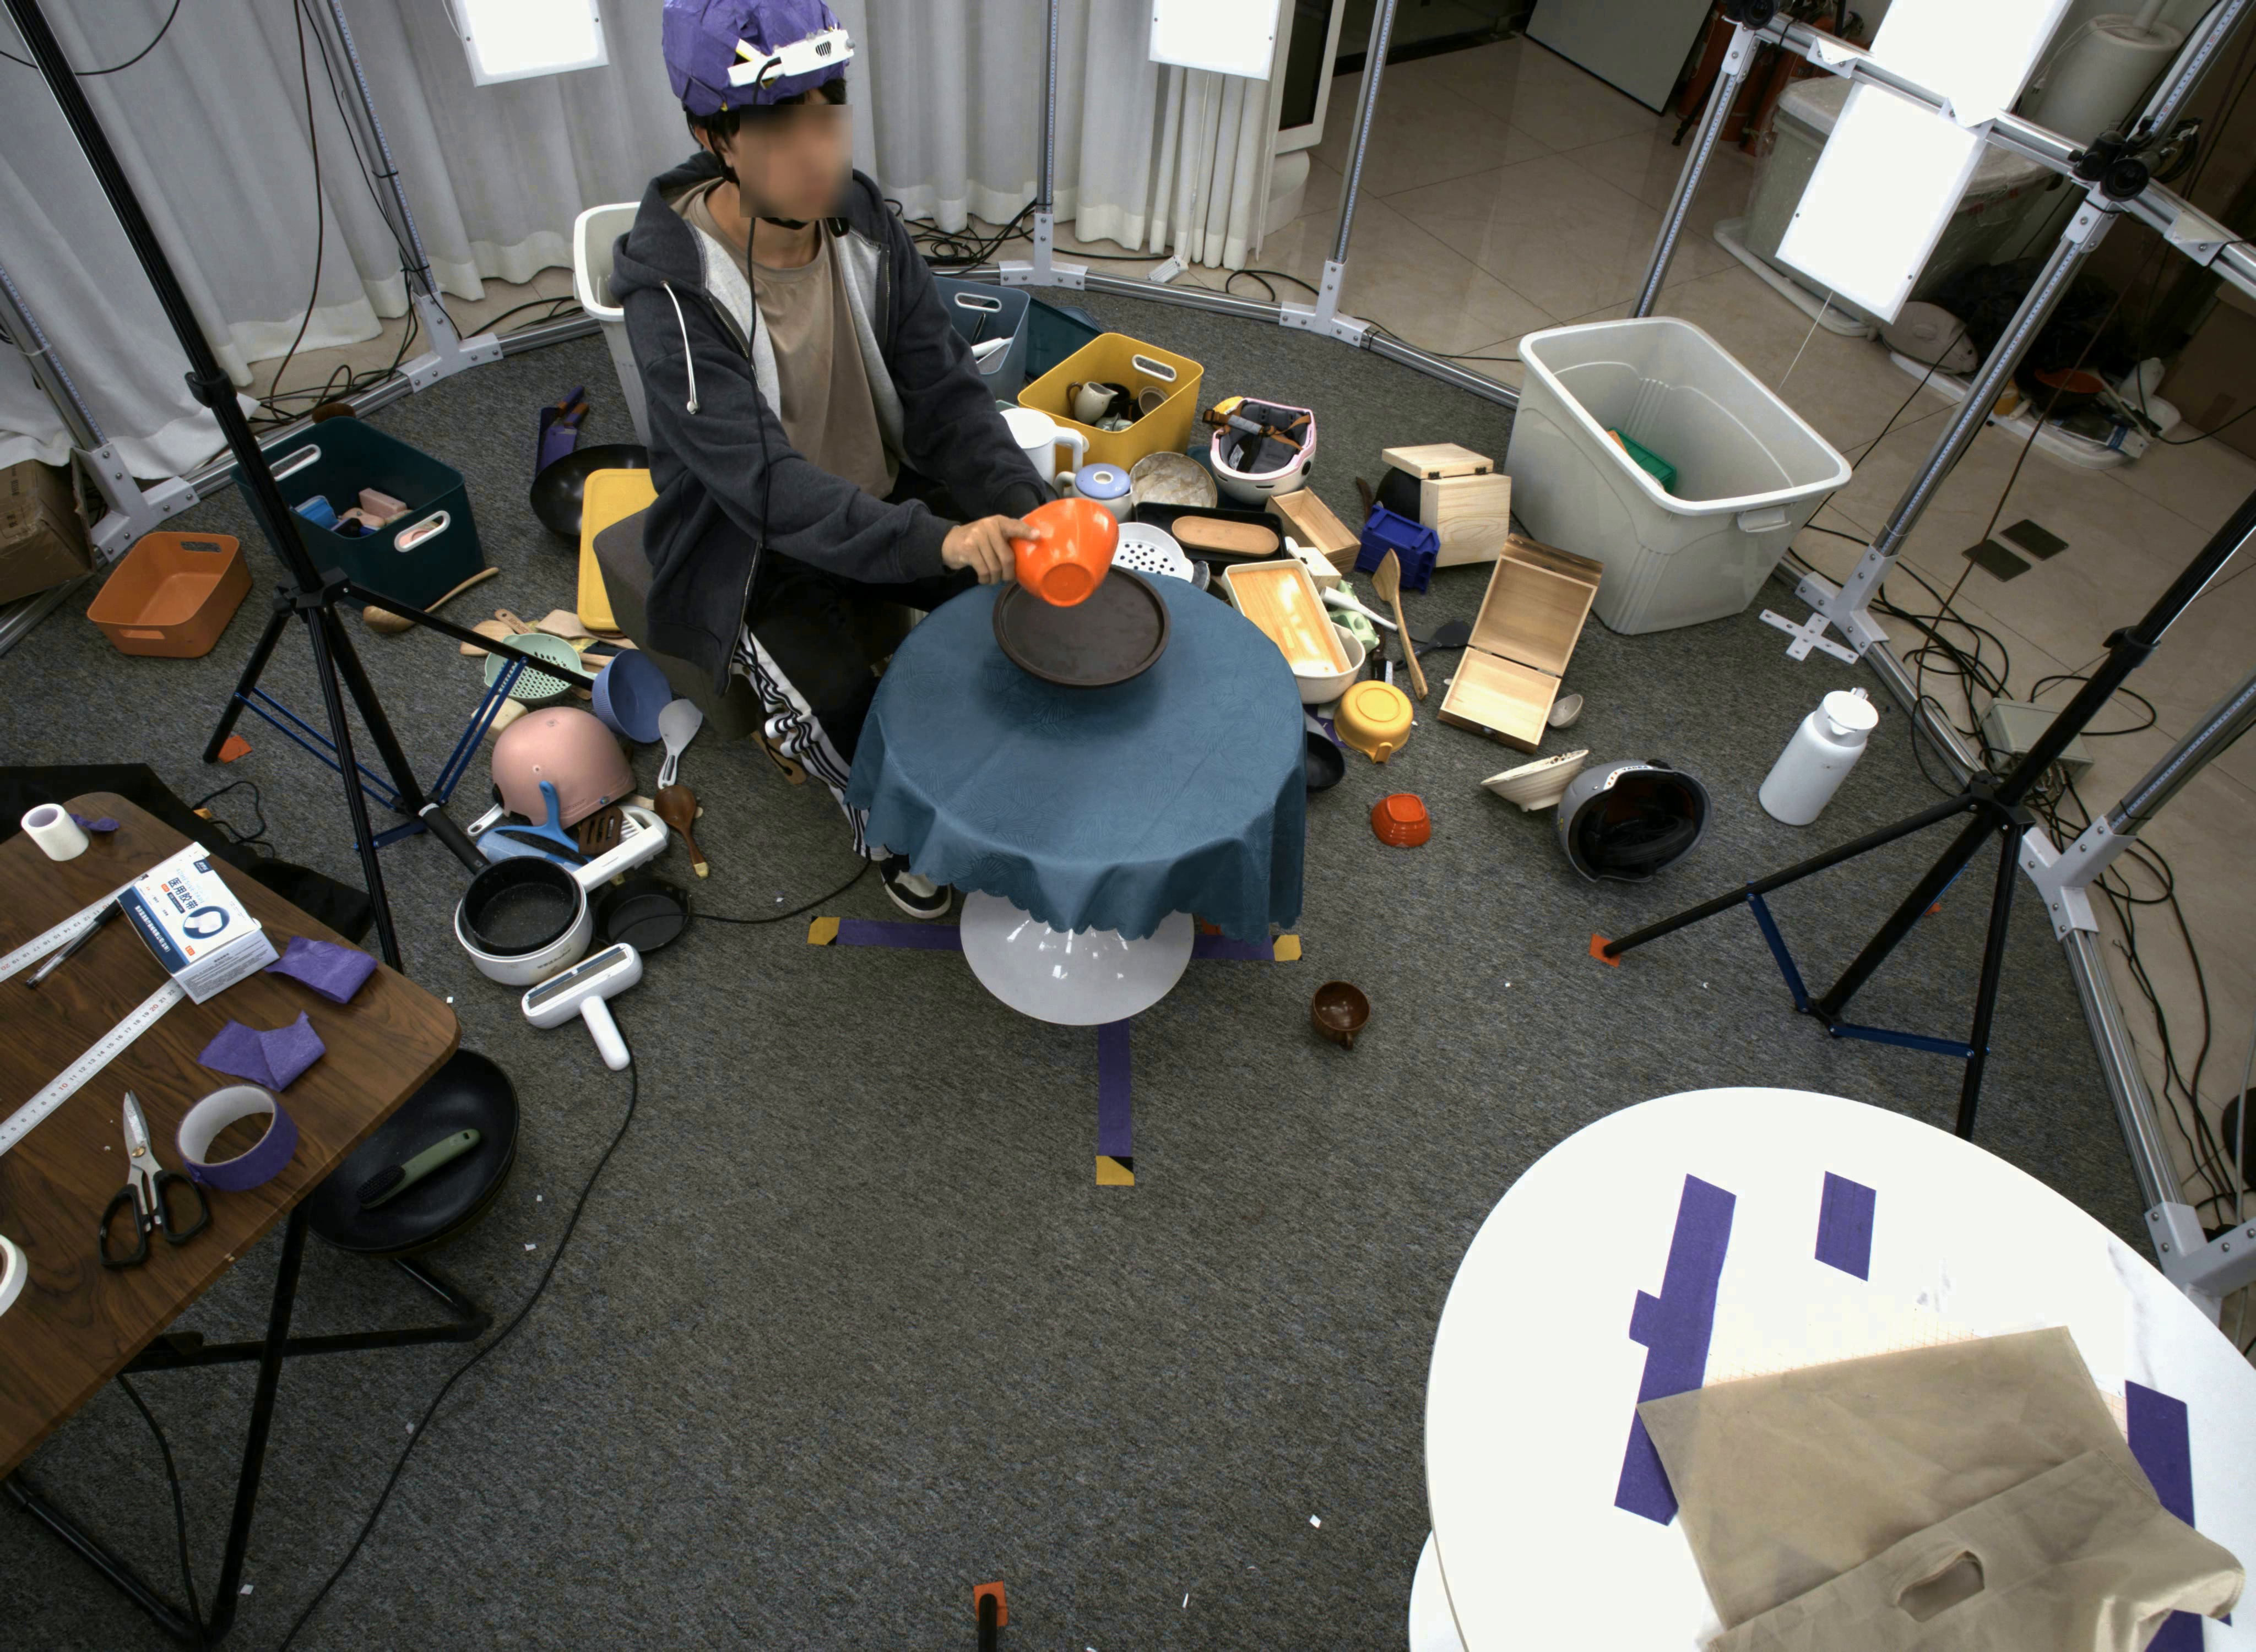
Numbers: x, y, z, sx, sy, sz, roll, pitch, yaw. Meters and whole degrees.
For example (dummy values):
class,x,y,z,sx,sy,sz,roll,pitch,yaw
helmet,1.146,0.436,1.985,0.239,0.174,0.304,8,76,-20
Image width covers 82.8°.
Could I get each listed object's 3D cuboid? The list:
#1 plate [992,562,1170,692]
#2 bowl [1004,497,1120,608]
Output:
class,x,y,z,sx,sy,sz,roll,pitch,yaw
plate,-0.066,-0.287,1.822,0.254,0.028,0.261,2,53,-2
bowl,-0.075,-0.321,1.582,0.148,0.144,0.107,-4,46,-8
